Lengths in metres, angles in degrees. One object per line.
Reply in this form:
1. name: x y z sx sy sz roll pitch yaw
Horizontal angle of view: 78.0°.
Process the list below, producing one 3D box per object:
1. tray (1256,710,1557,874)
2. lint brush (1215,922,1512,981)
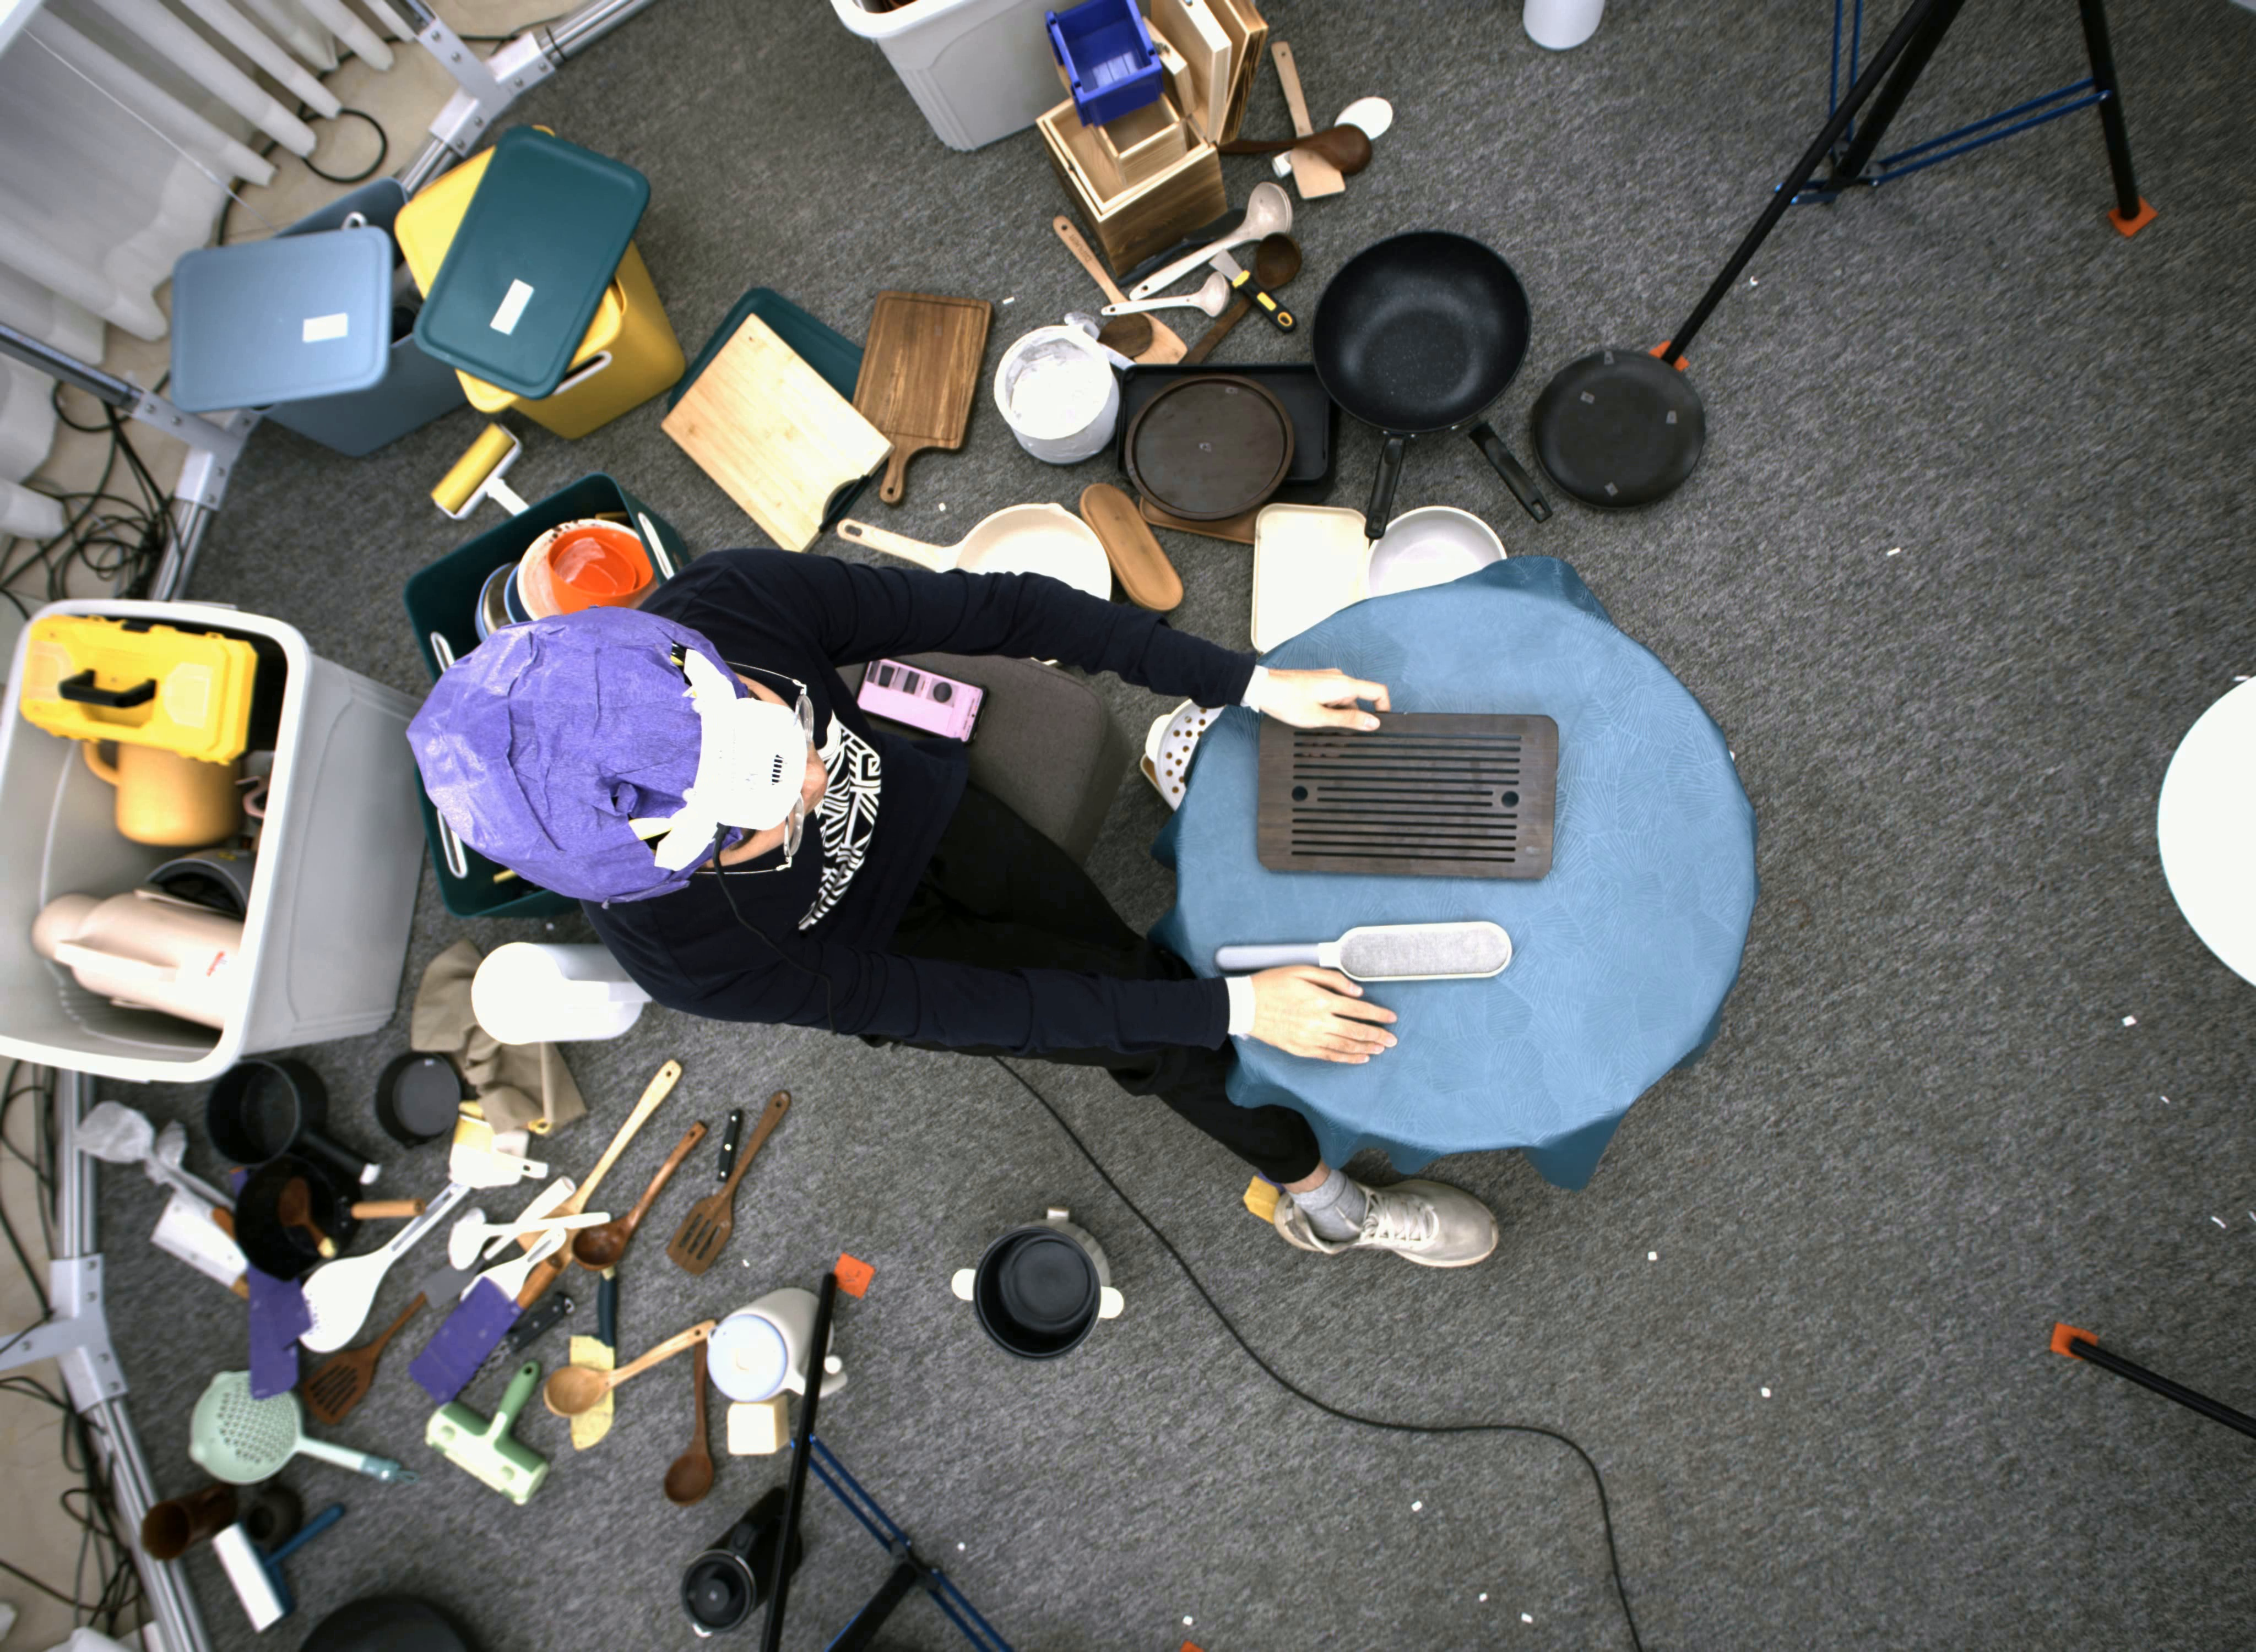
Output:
1. tray: 0.286 -0.038 1.433 0.307 0.018 0.172 1 102 11
2. lint brush: 0.244 0.131 1.448 0.310 0.021 0.060 -3 91 11
